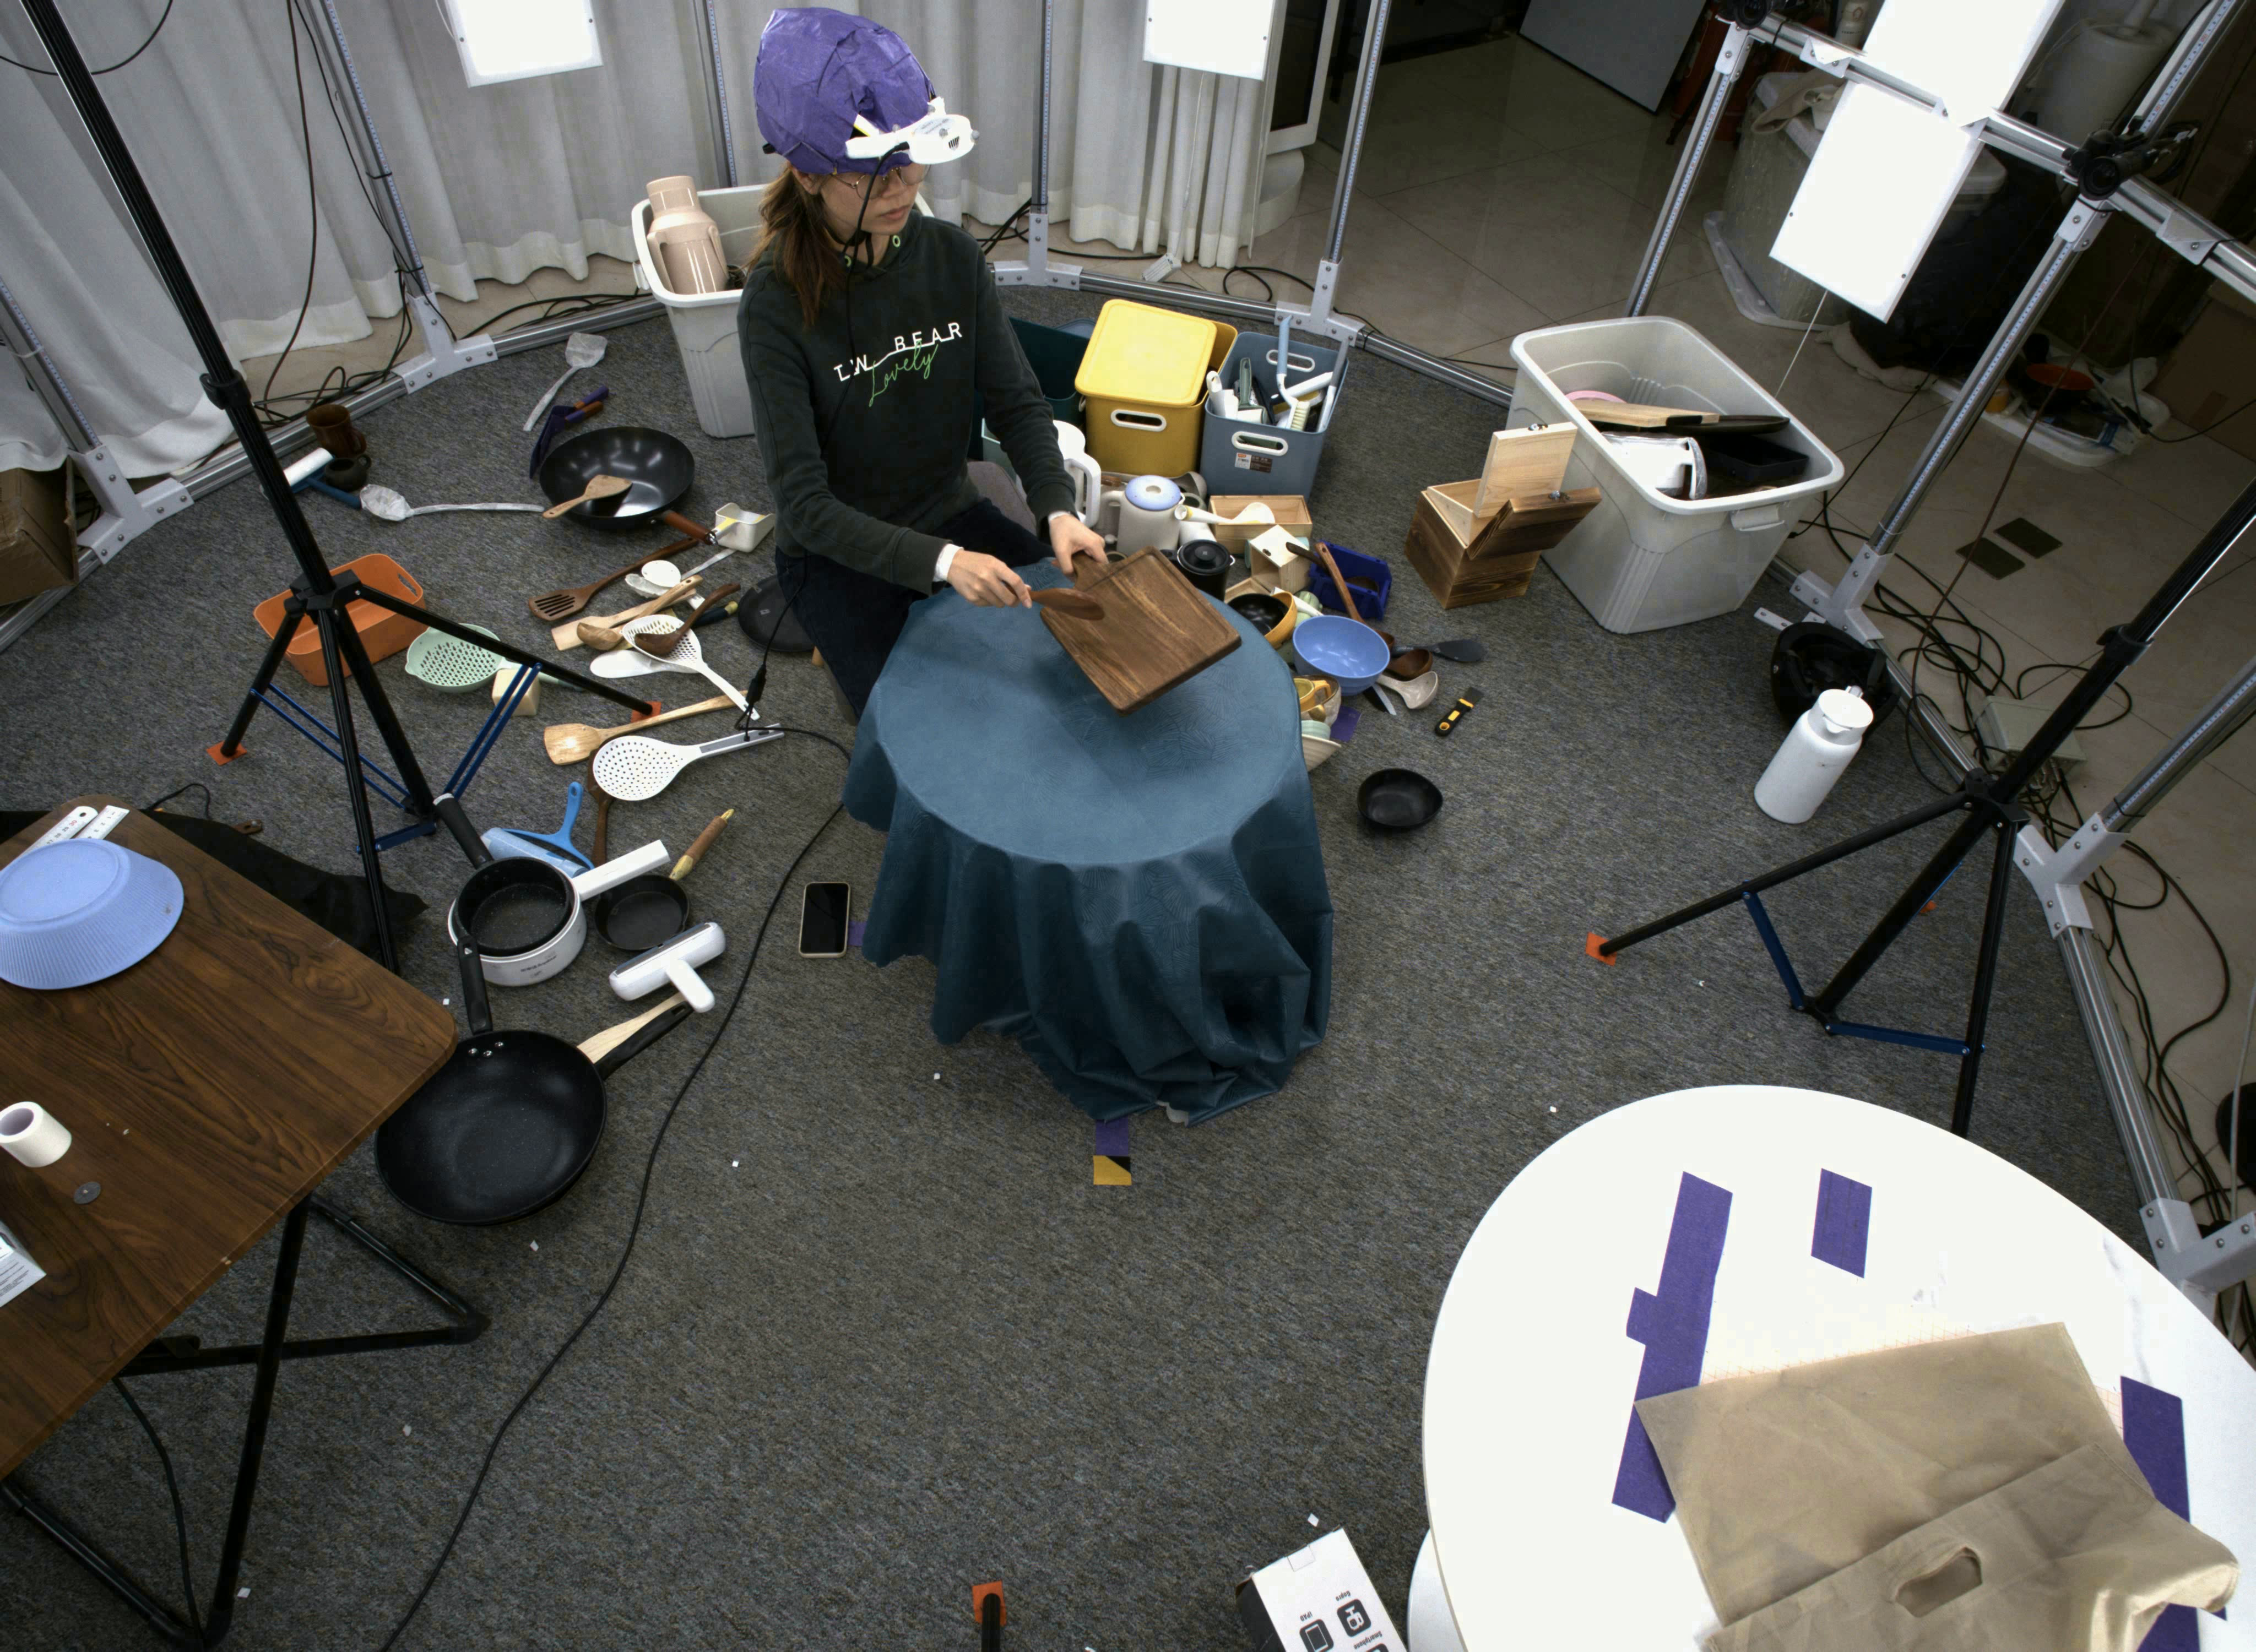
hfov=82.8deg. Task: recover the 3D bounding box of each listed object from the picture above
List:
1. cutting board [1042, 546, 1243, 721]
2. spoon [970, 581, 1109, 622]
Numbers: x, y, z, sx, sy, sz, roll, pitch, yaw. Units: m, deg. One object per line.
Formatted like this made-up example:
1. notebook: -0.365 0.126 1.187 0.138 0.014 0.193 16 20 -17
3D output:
1. cutting board: -0.007 -0.303 1.823 0.201 0.022 0.360 -32 50 -6
2. spoon: -0.124 -0.308 1.758 0.217 0.074 0.017 16 81 26
